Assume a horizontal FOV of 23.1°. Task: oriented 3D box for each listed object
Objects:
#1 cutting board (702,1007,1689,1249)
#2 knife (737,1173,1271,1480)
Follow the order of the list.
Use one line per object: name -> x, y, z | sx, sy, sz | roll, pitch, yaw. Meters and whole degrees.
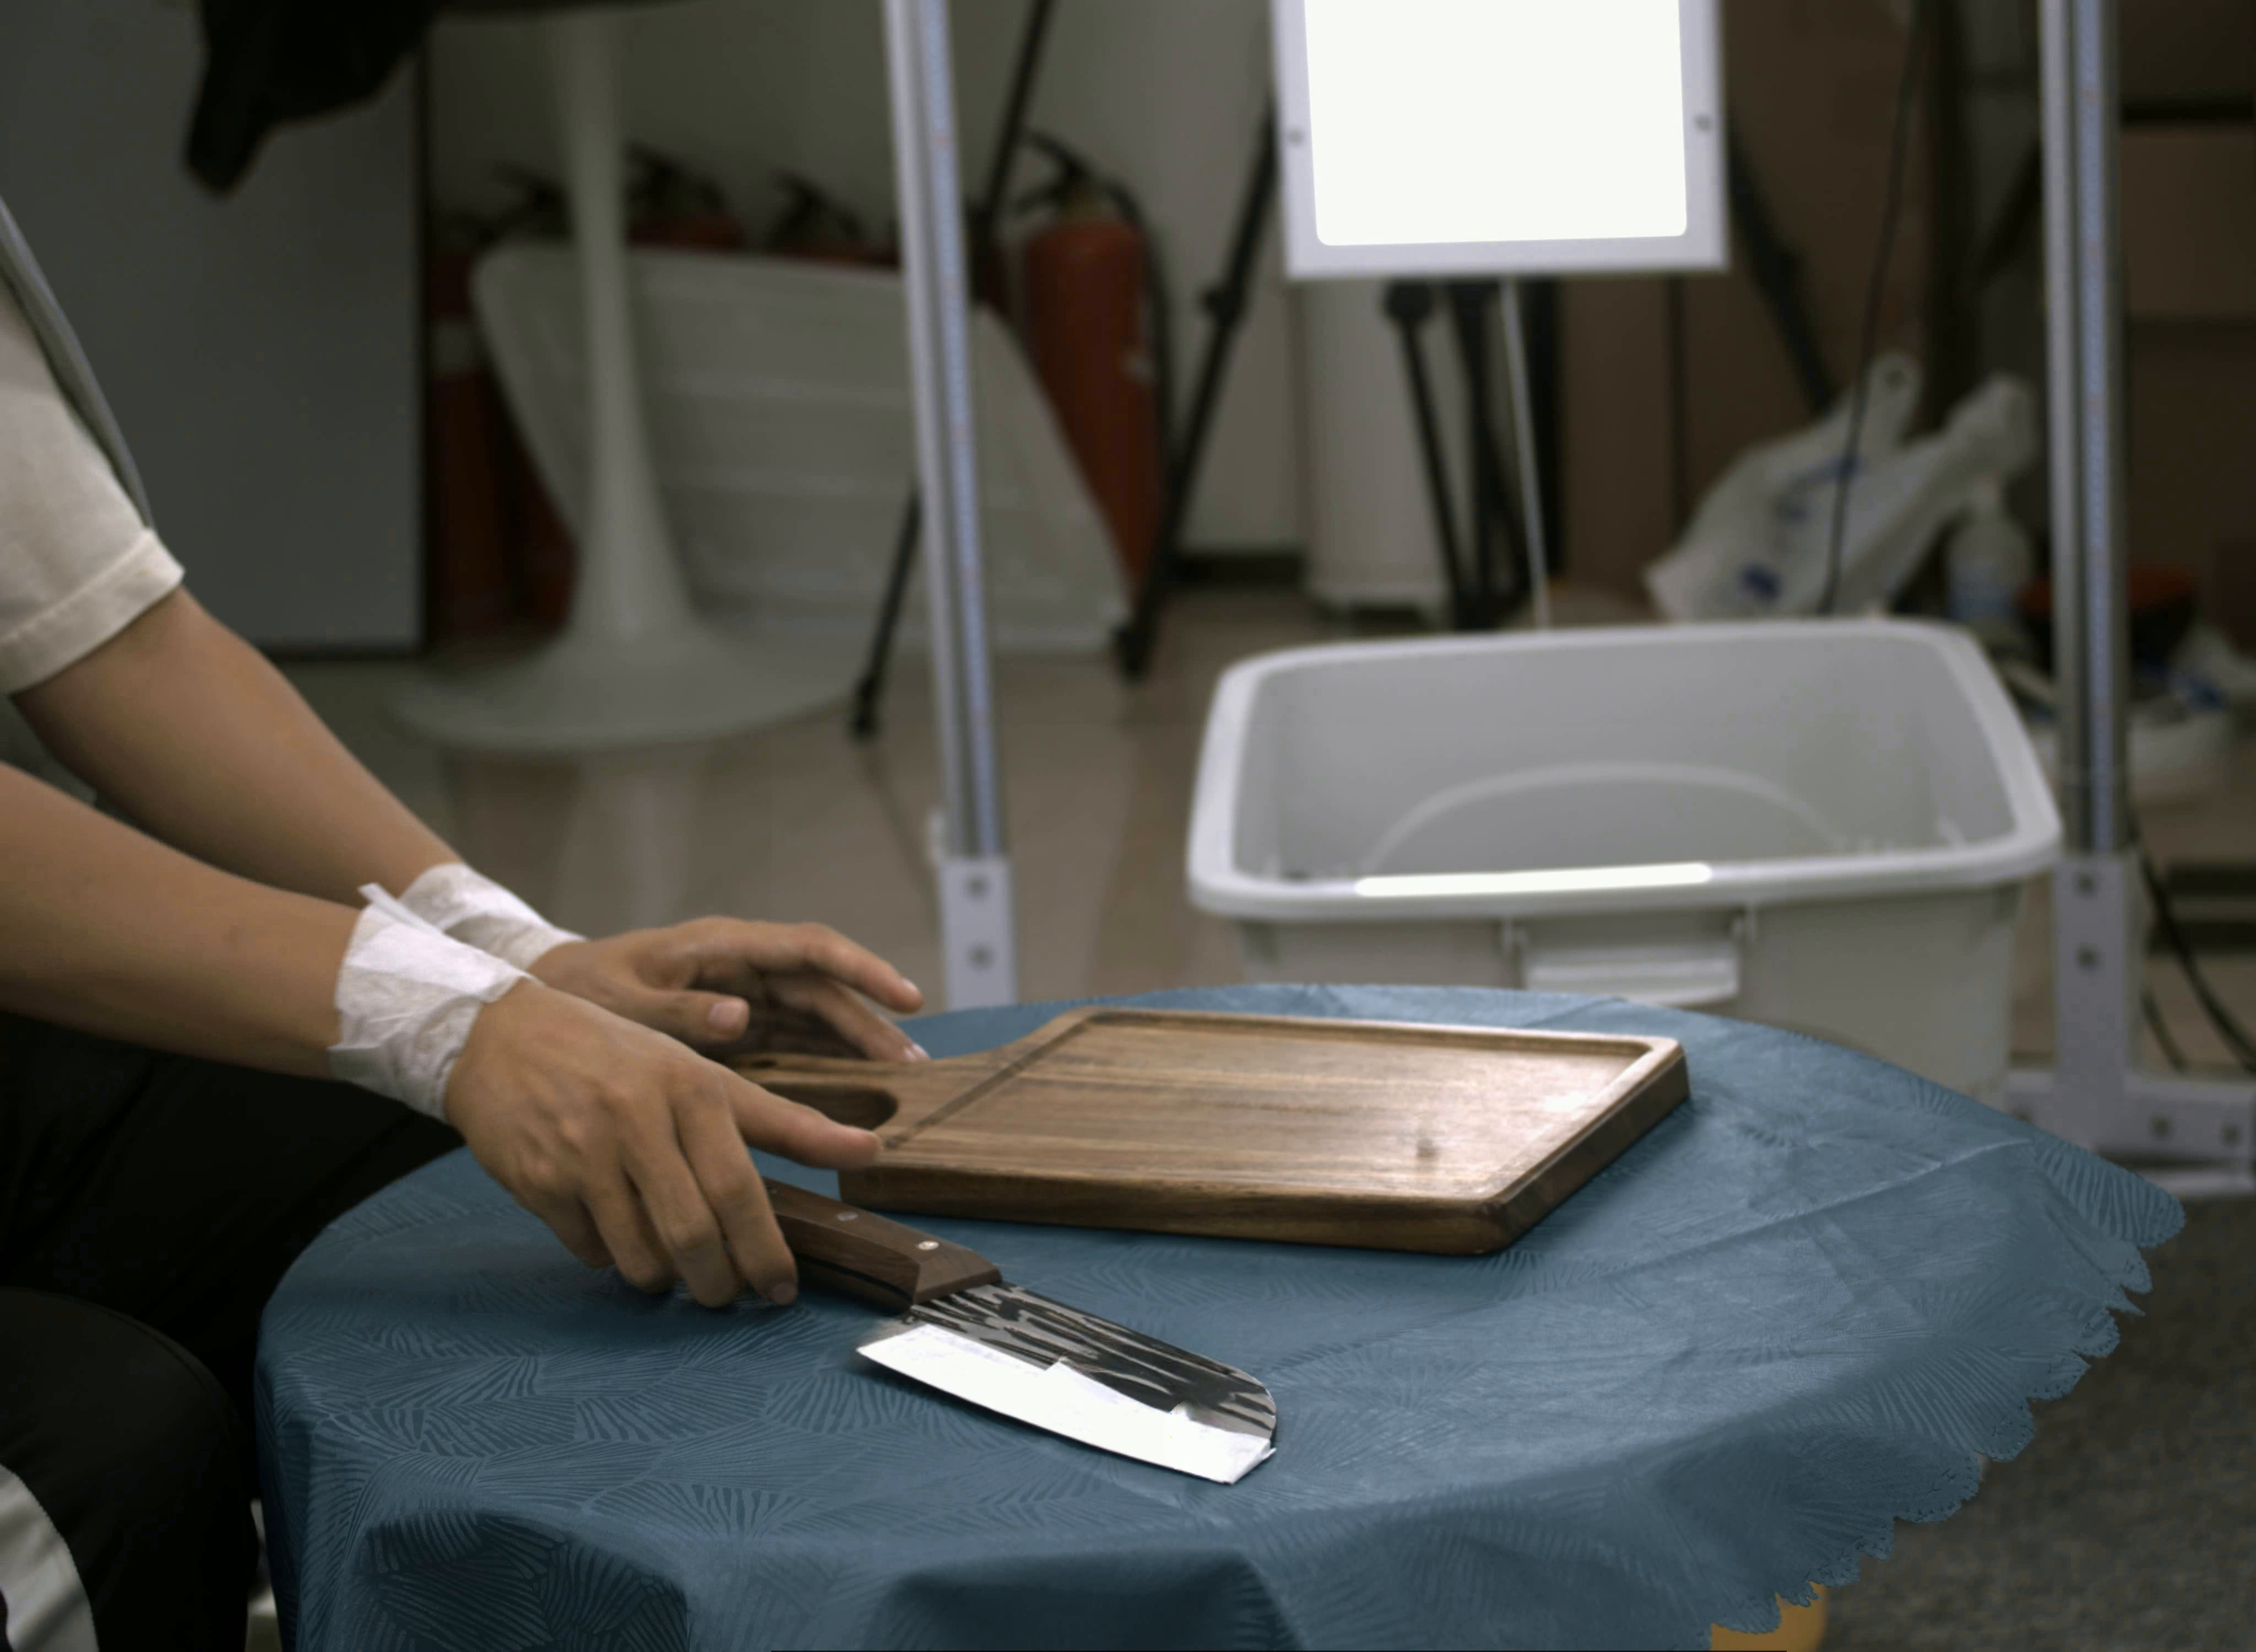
cutting board -> 0.005, 0.102, 1.953 | 0.358, 0.023, 0.197 | 1, 15, 28
knife -> -0.049, 0.159, 1.741 | 0.066, 0.024, 0.305 | -18, 21, -35
